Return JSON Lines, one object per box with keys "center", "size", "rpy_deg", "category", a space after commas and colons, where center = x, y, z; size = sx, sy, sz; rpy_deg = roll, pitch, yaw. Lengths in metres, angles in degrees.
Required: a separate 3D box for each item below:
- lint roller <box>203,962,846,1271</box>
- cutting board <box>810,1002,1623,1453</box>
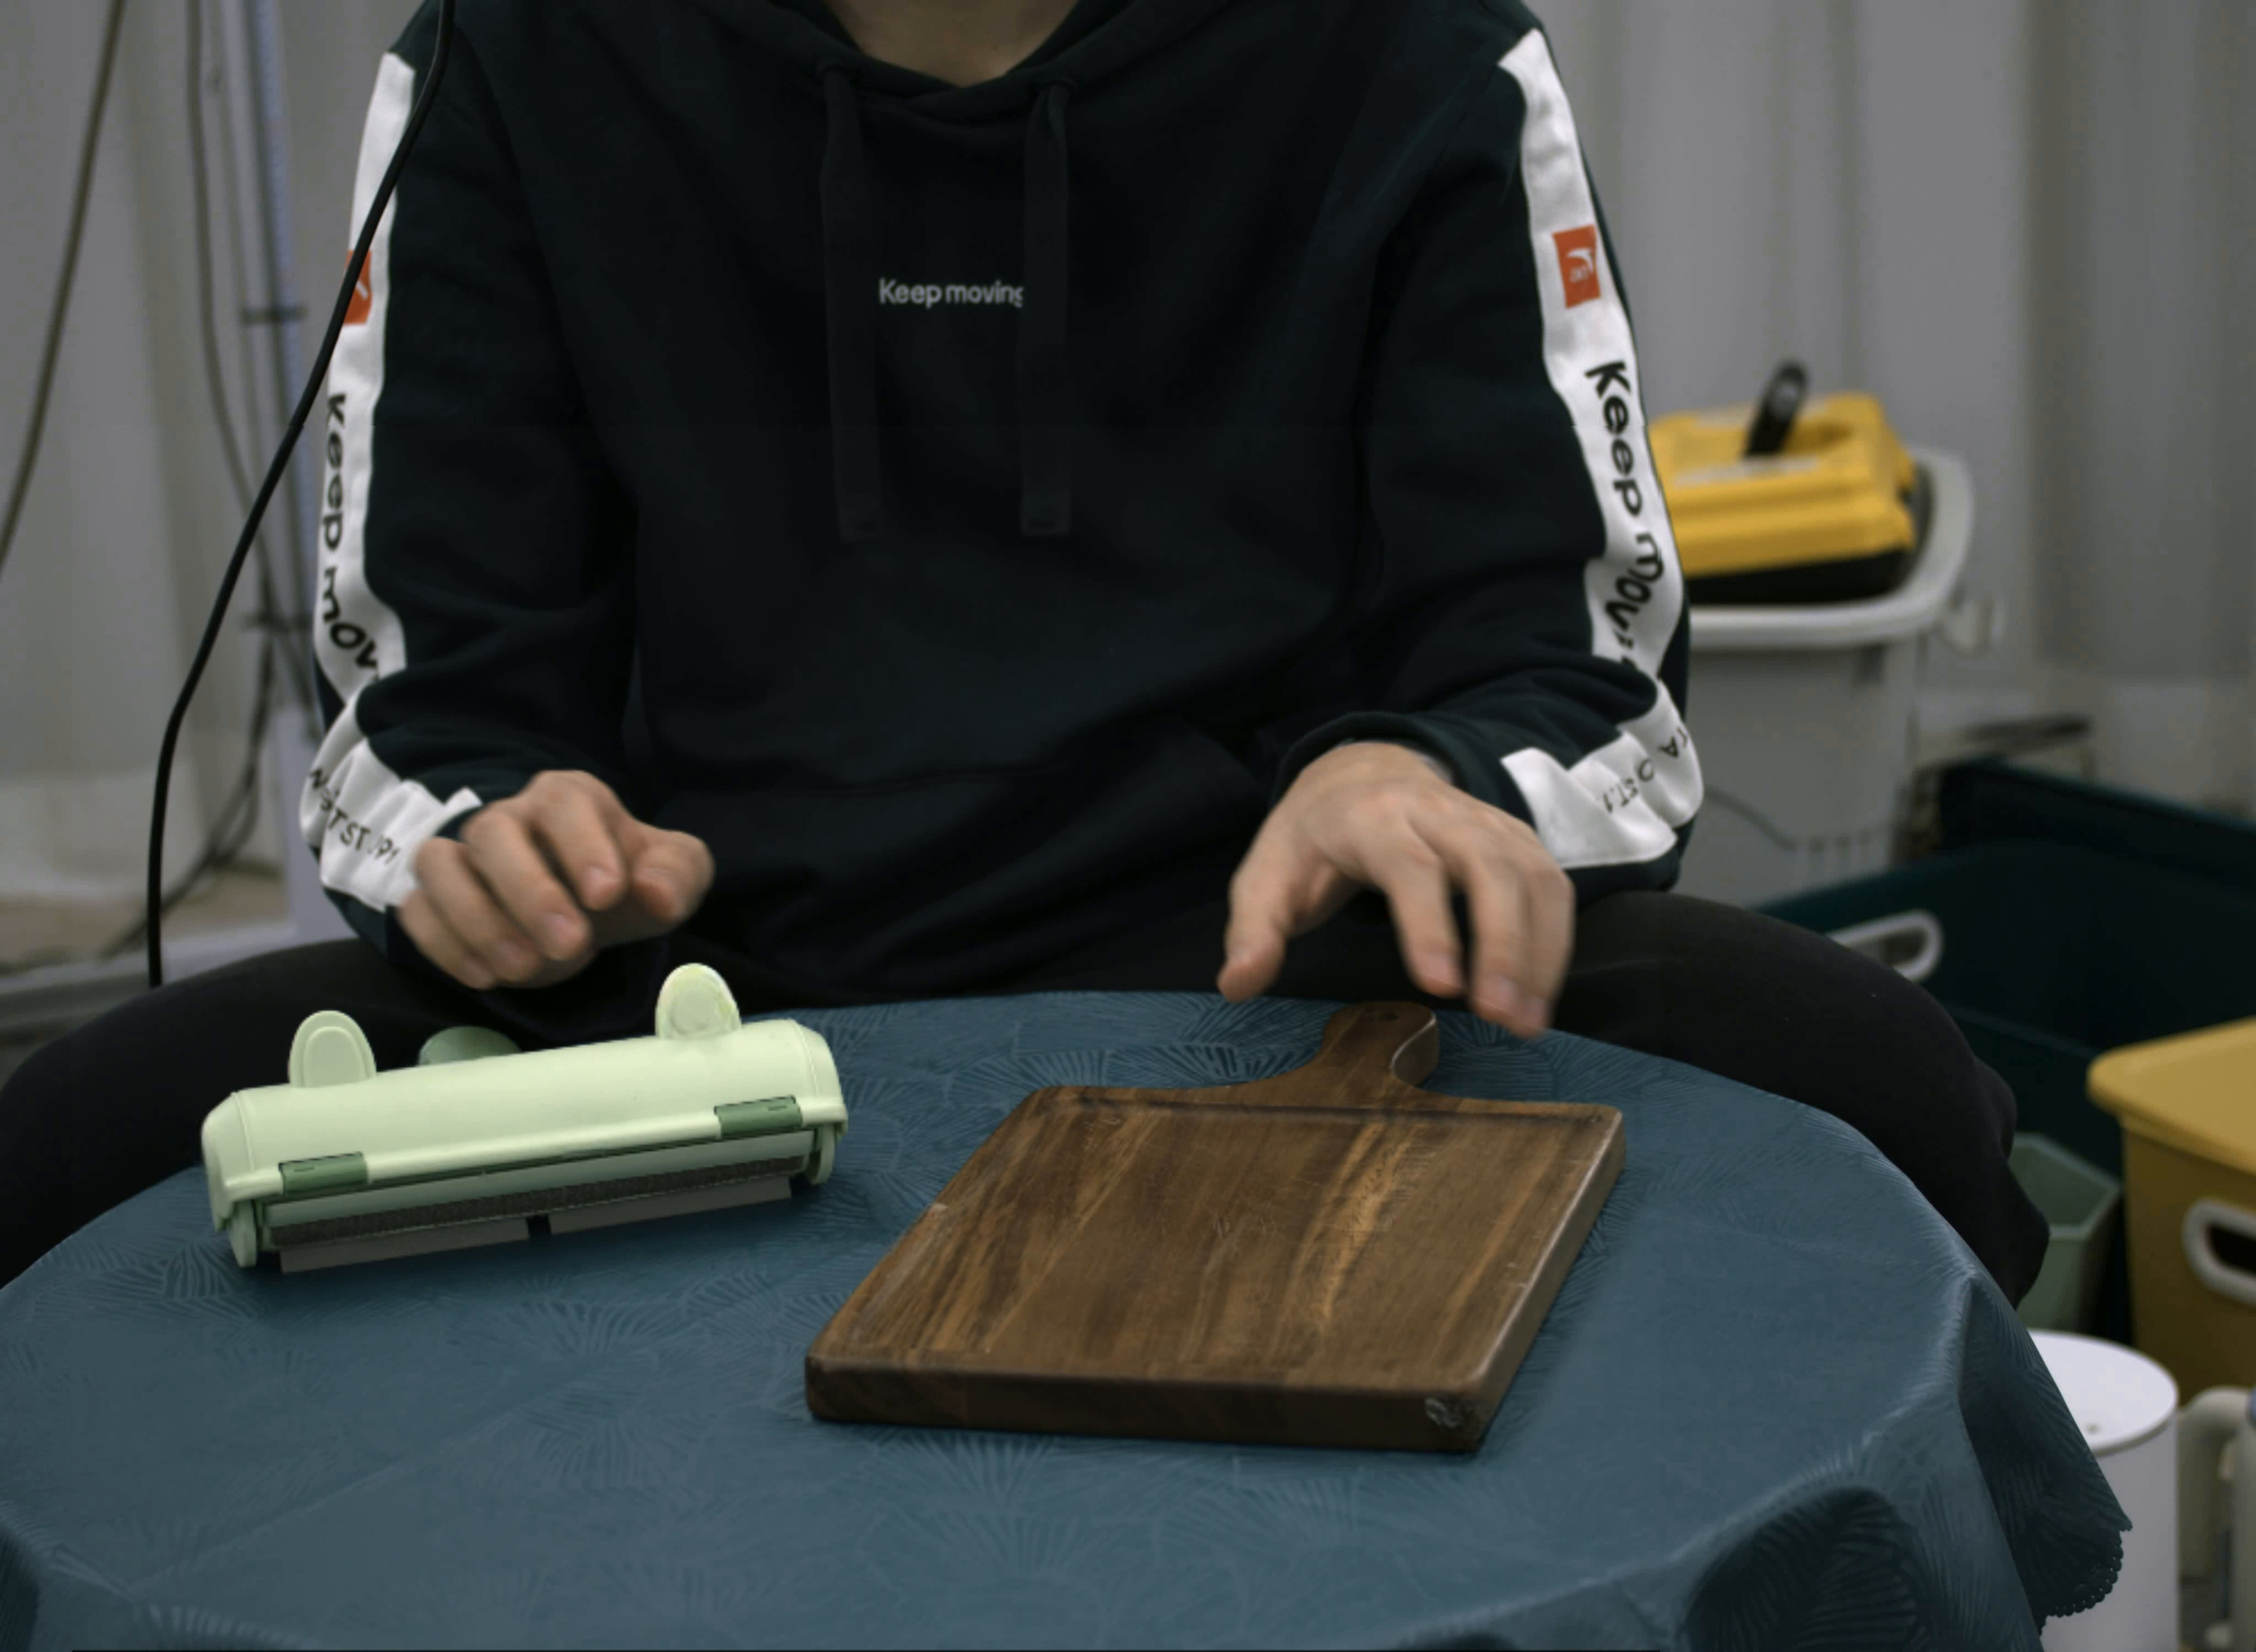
{"center": [-0.204, 0.075, 1.754], "size": [0.198, 0.082, 0.185], "rpy_deg": [-7, 20, -15], "category": "lint roller"}
{"center": [0.044, 0.115, 1.666], "size": [0.201, 0.023, 0.354], "rpy_deg": [1, 15, 14], "category": "cutting board"}
